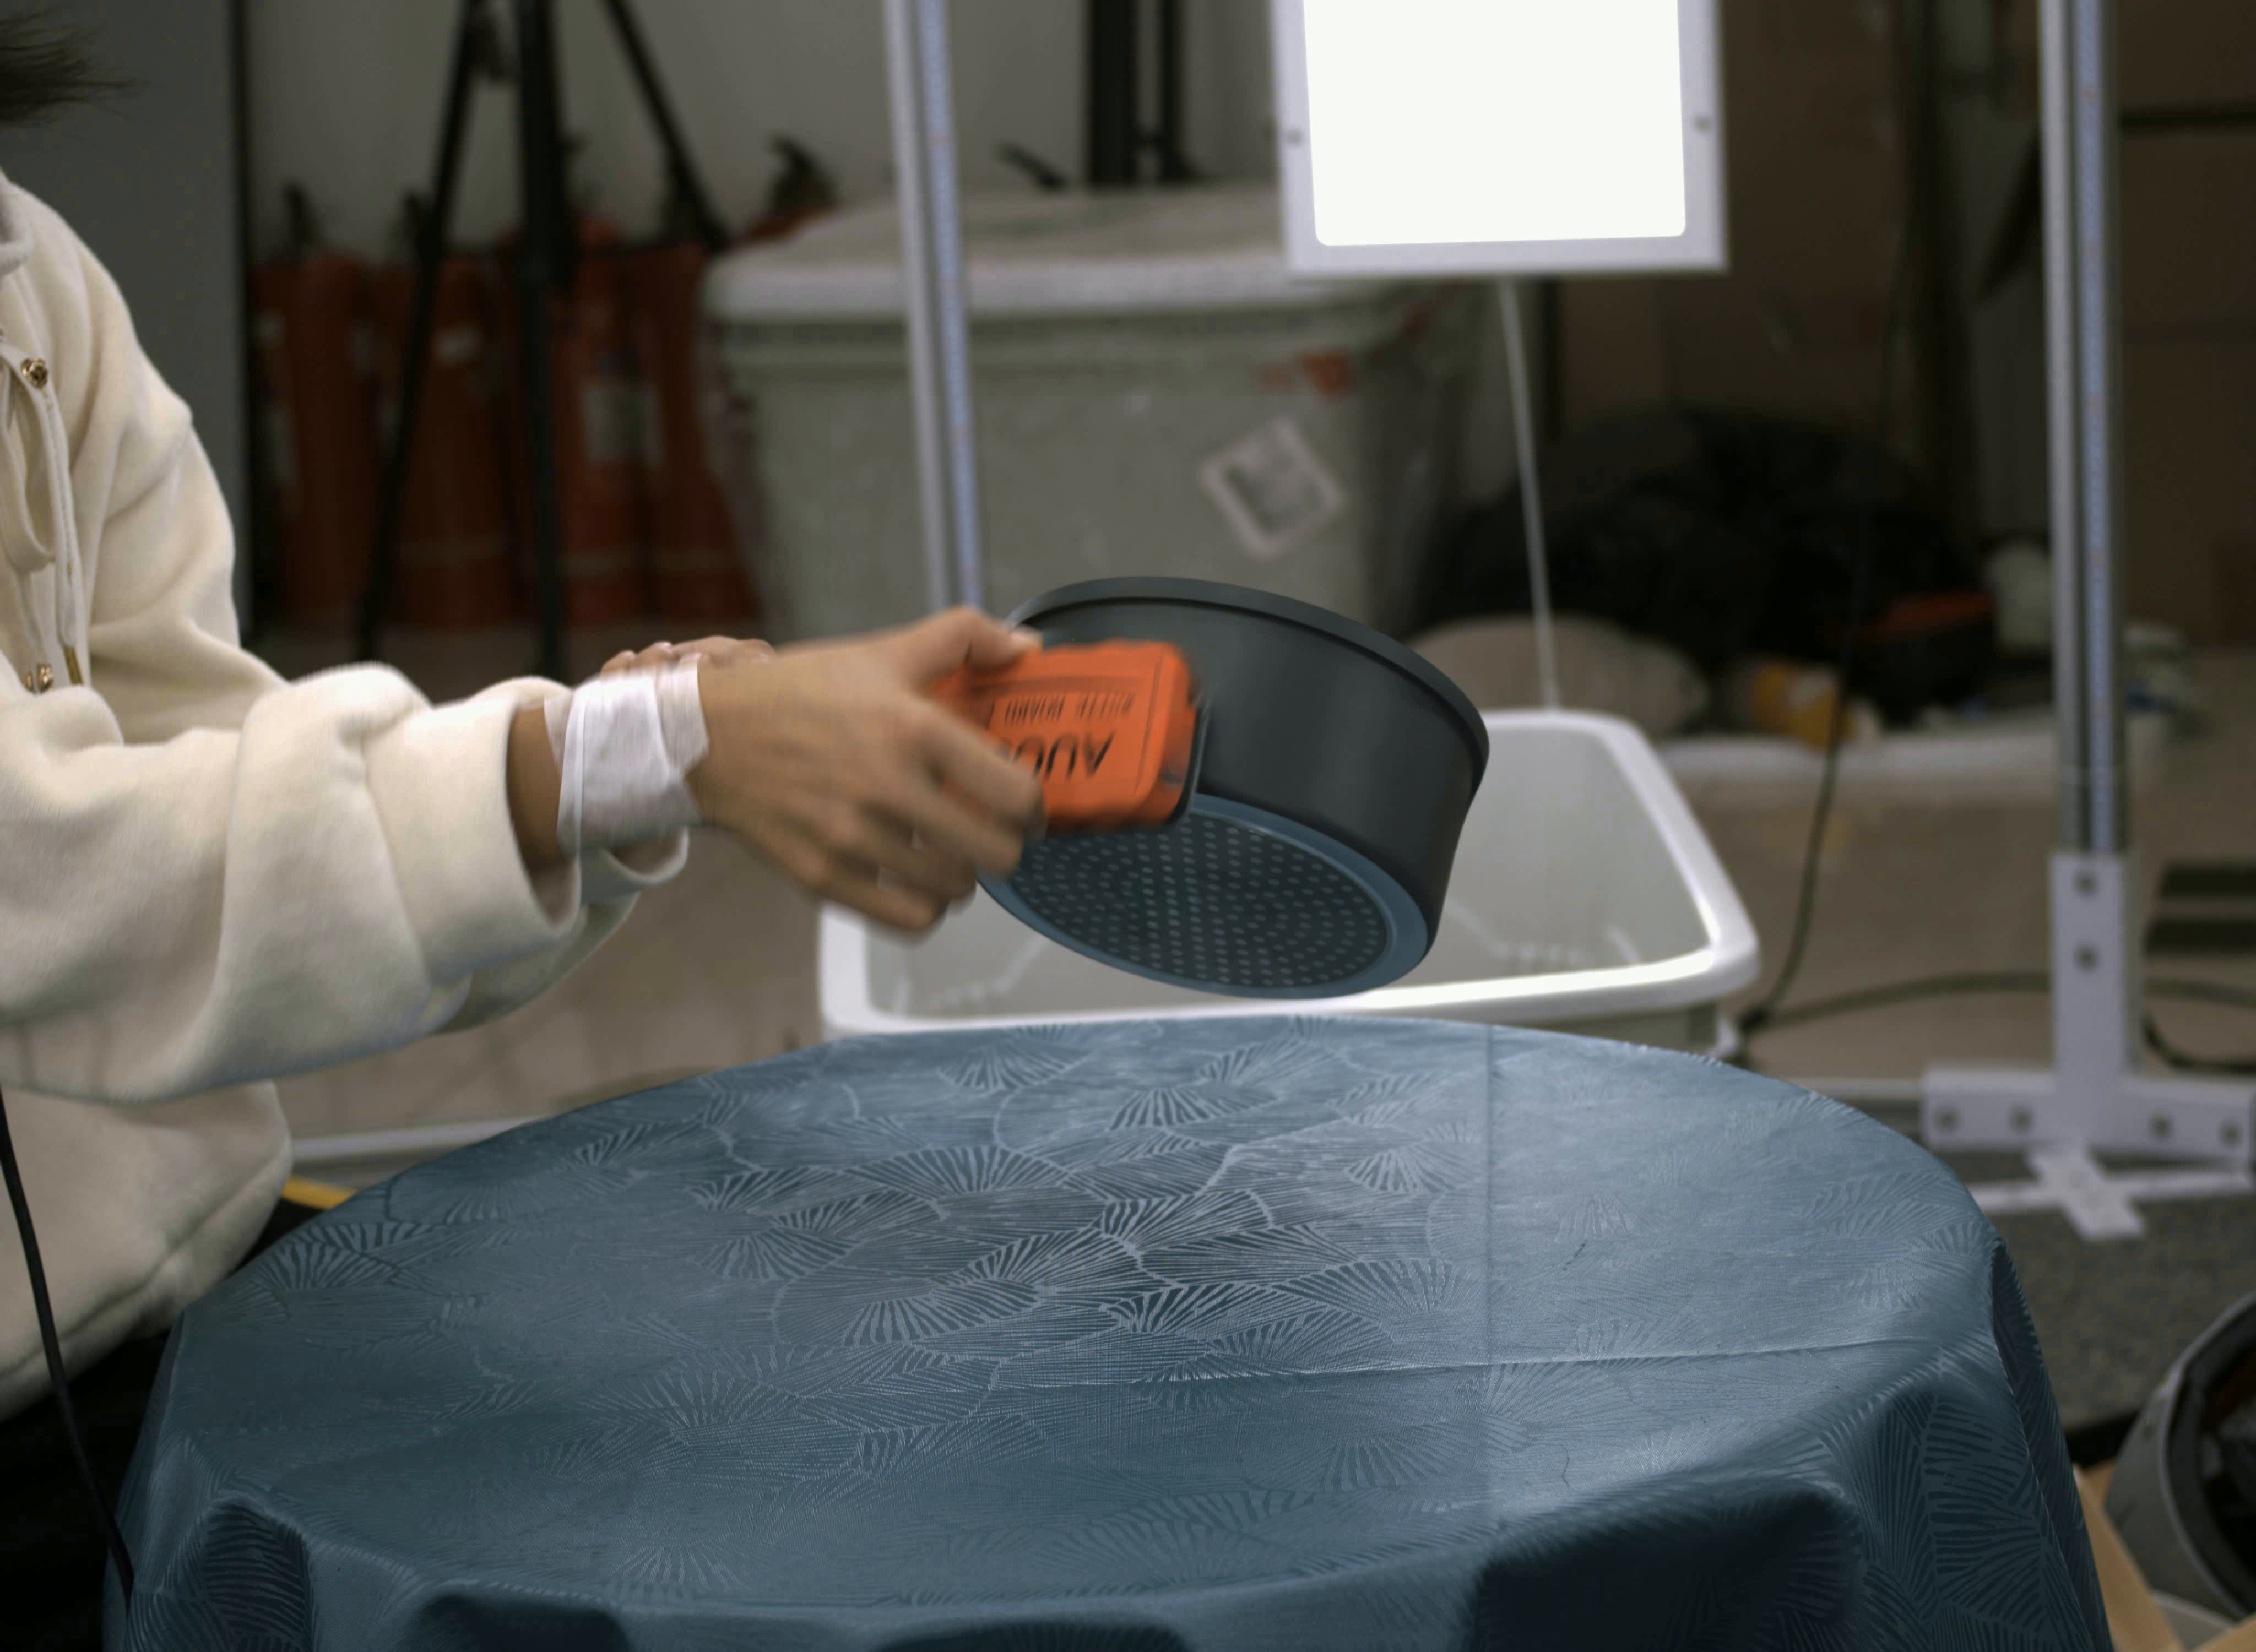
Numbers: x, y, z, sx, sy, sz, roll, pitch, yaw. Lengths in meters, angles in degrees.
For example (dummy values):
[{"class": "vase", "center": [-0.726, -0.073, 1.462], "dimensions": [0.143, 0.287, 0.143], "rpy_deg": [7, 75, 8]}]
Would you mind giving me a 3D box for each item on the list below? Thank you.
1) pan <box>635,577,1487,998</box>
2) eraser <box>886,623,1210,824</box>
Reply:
[{"class": "pan", "center": [-0.039, -0.011, 1.879], "dimensions": [0.335, 0.086, 0.169], "rpy_deg": [0, -29, 33]}, {"class": "eraser", "center": [-0.026, -0.032, 1.763], "dimensions": [0.110, 0.059, 0.022], "rpy_deg": [-4, -22, 36]}]
